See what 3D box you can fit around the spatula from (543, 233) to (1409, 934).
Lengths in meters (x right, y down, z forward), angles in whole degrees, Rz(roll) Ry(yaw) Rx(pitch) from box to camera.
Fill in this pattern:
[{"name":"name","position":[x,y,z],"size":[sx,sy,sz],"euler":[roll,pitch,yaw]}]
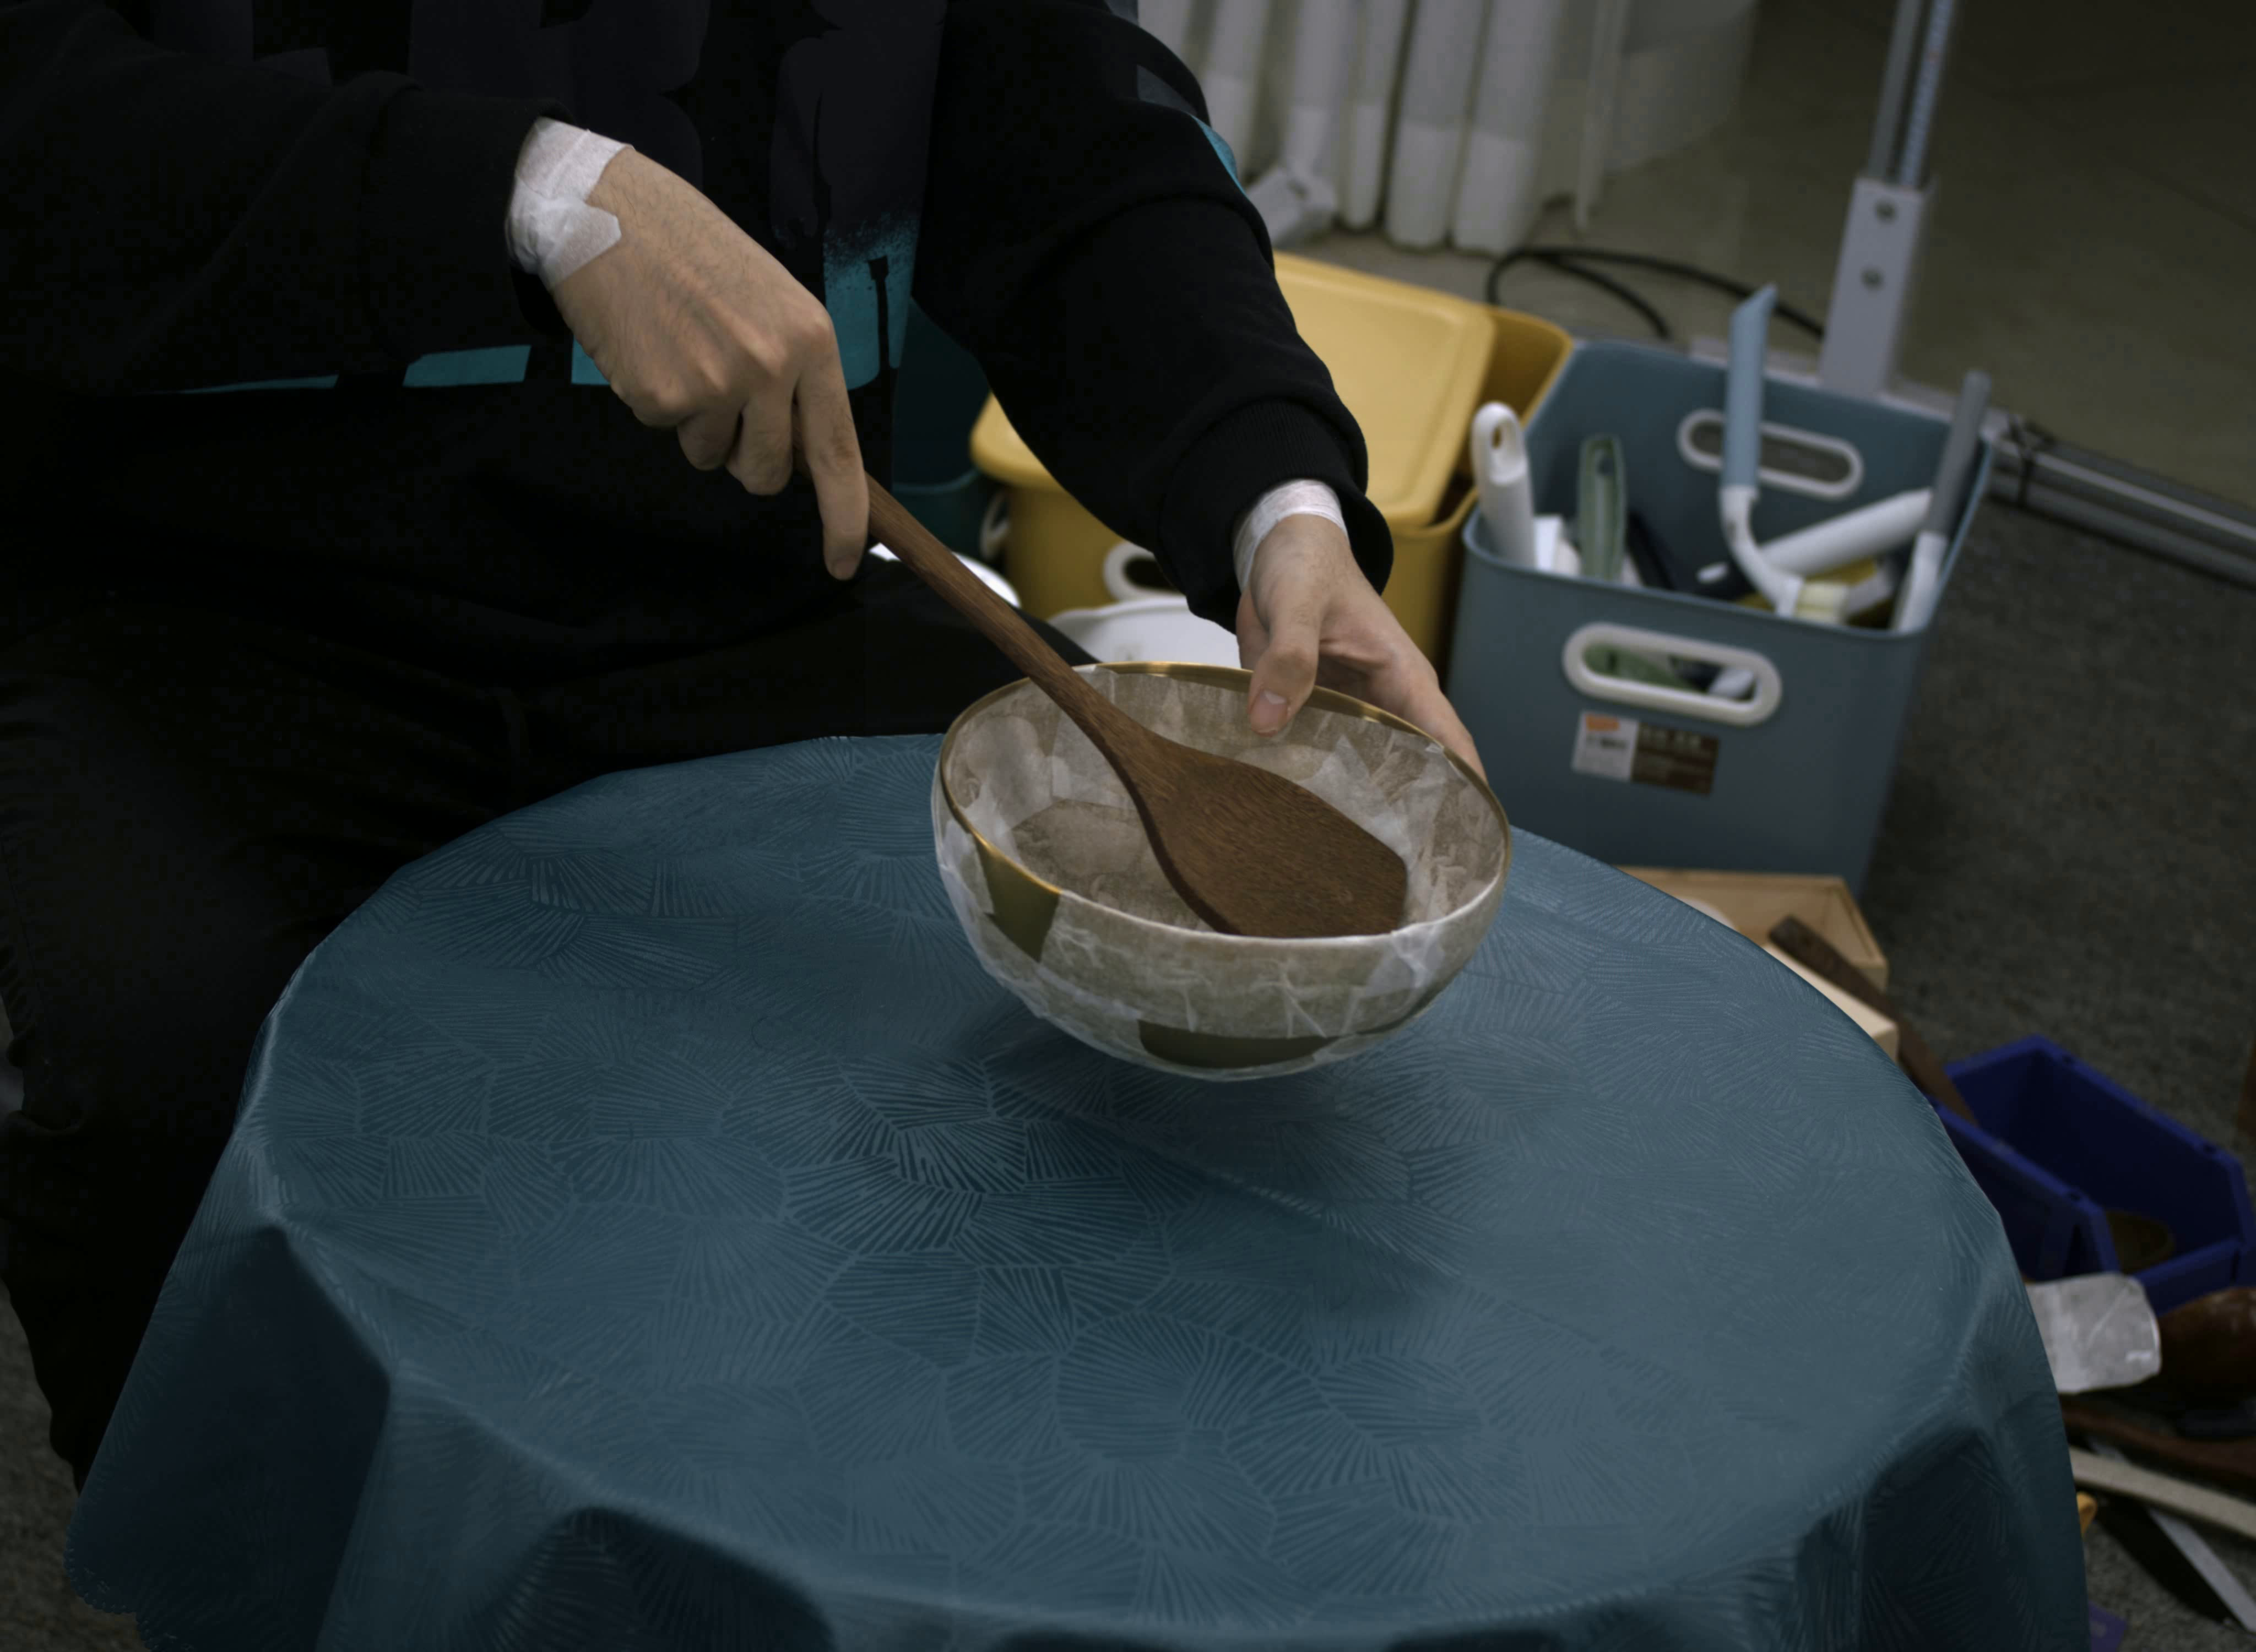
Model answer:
[{"name":"spatula","position":[-0.057,-0.081,1.856],"size":[0.386,0.016,0.096],"euler":[41,37,2]}]

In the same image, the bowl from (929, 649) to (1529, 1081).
[{"name":"bowl","position":[0.028,0.026,1.836],"size":[0.214,0.094,0.216],"euler":[6,27,-3]}]
